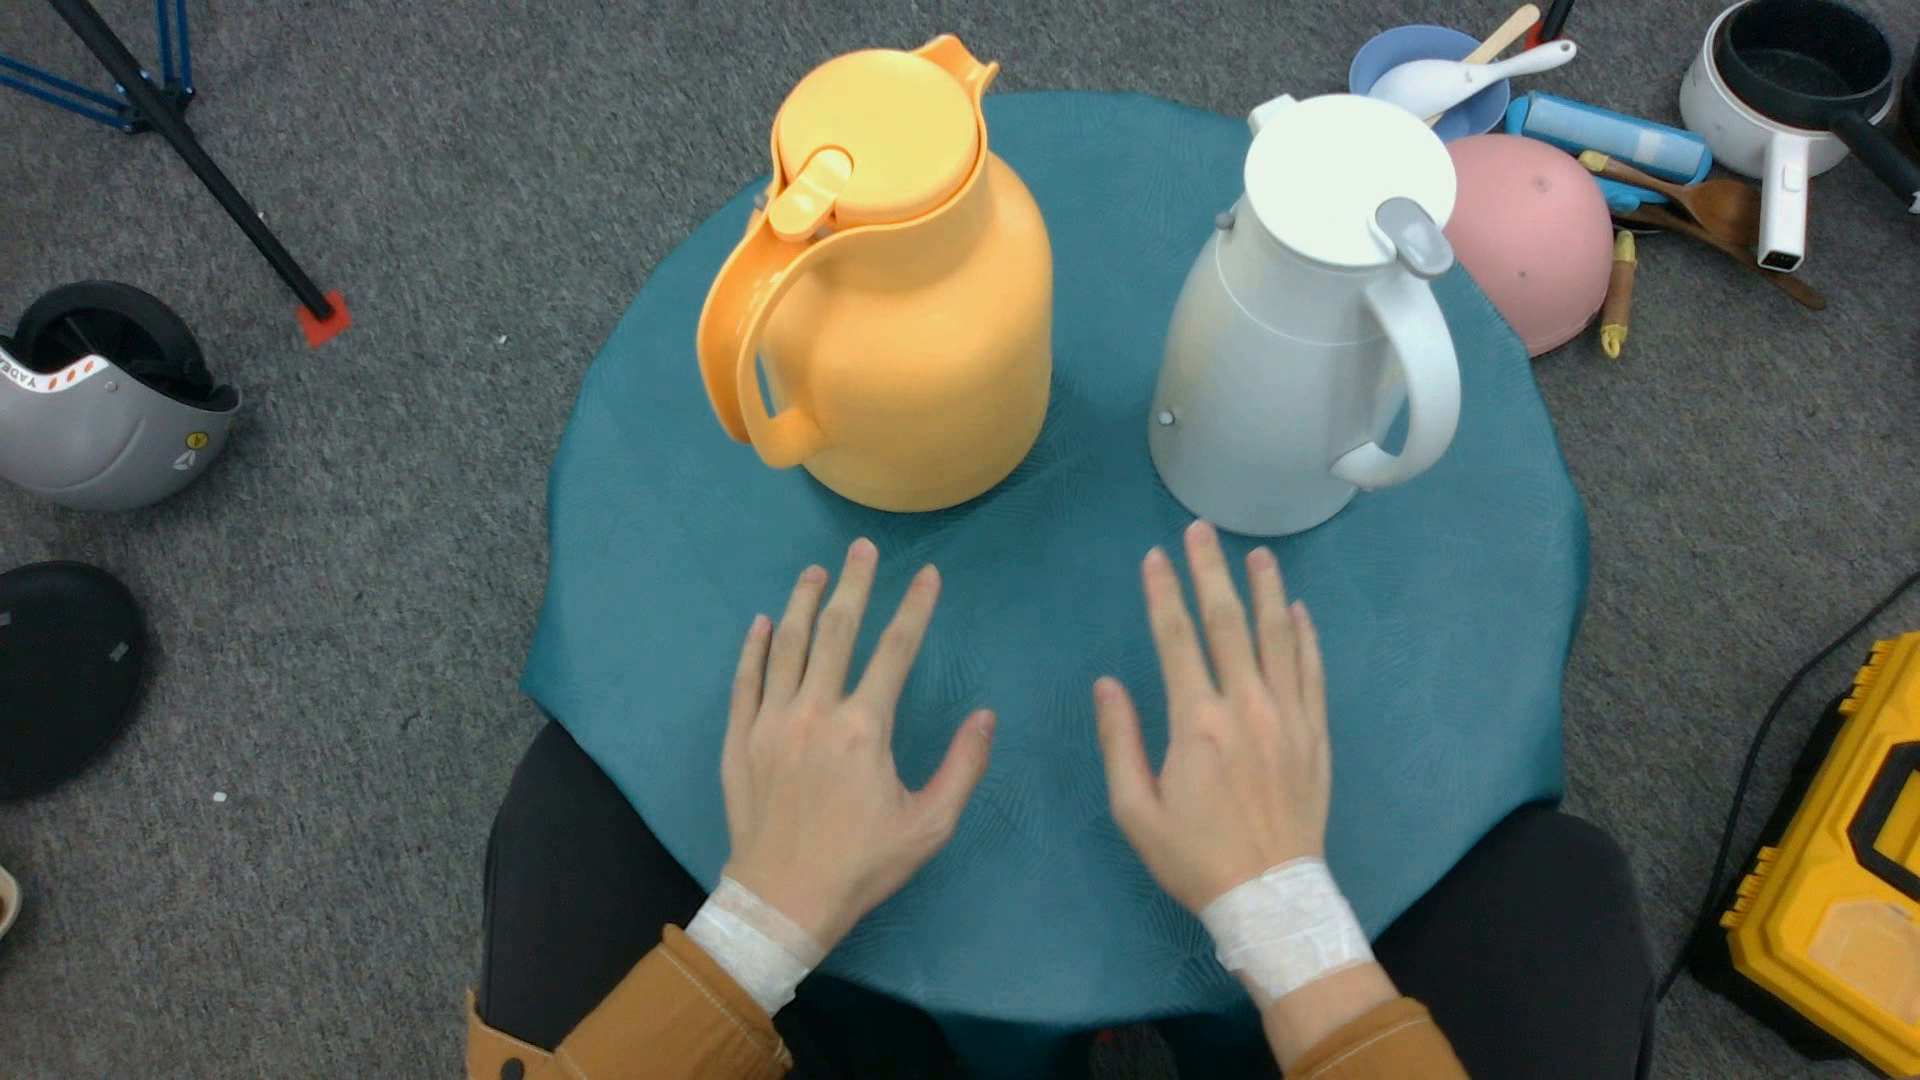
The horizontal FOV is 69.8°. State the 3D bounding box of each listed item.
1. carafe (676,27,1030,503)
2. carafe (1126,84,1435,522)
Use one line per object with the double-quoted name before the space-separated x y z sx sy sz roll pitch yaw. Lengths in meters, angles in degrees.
"carafe" -0.058 -0.125 0.713 0.163 0.259 0.203 37 70 17
"carafe" 0.173 -0.105 0.708 0.133 0.247 0.168 -28 69 -11
